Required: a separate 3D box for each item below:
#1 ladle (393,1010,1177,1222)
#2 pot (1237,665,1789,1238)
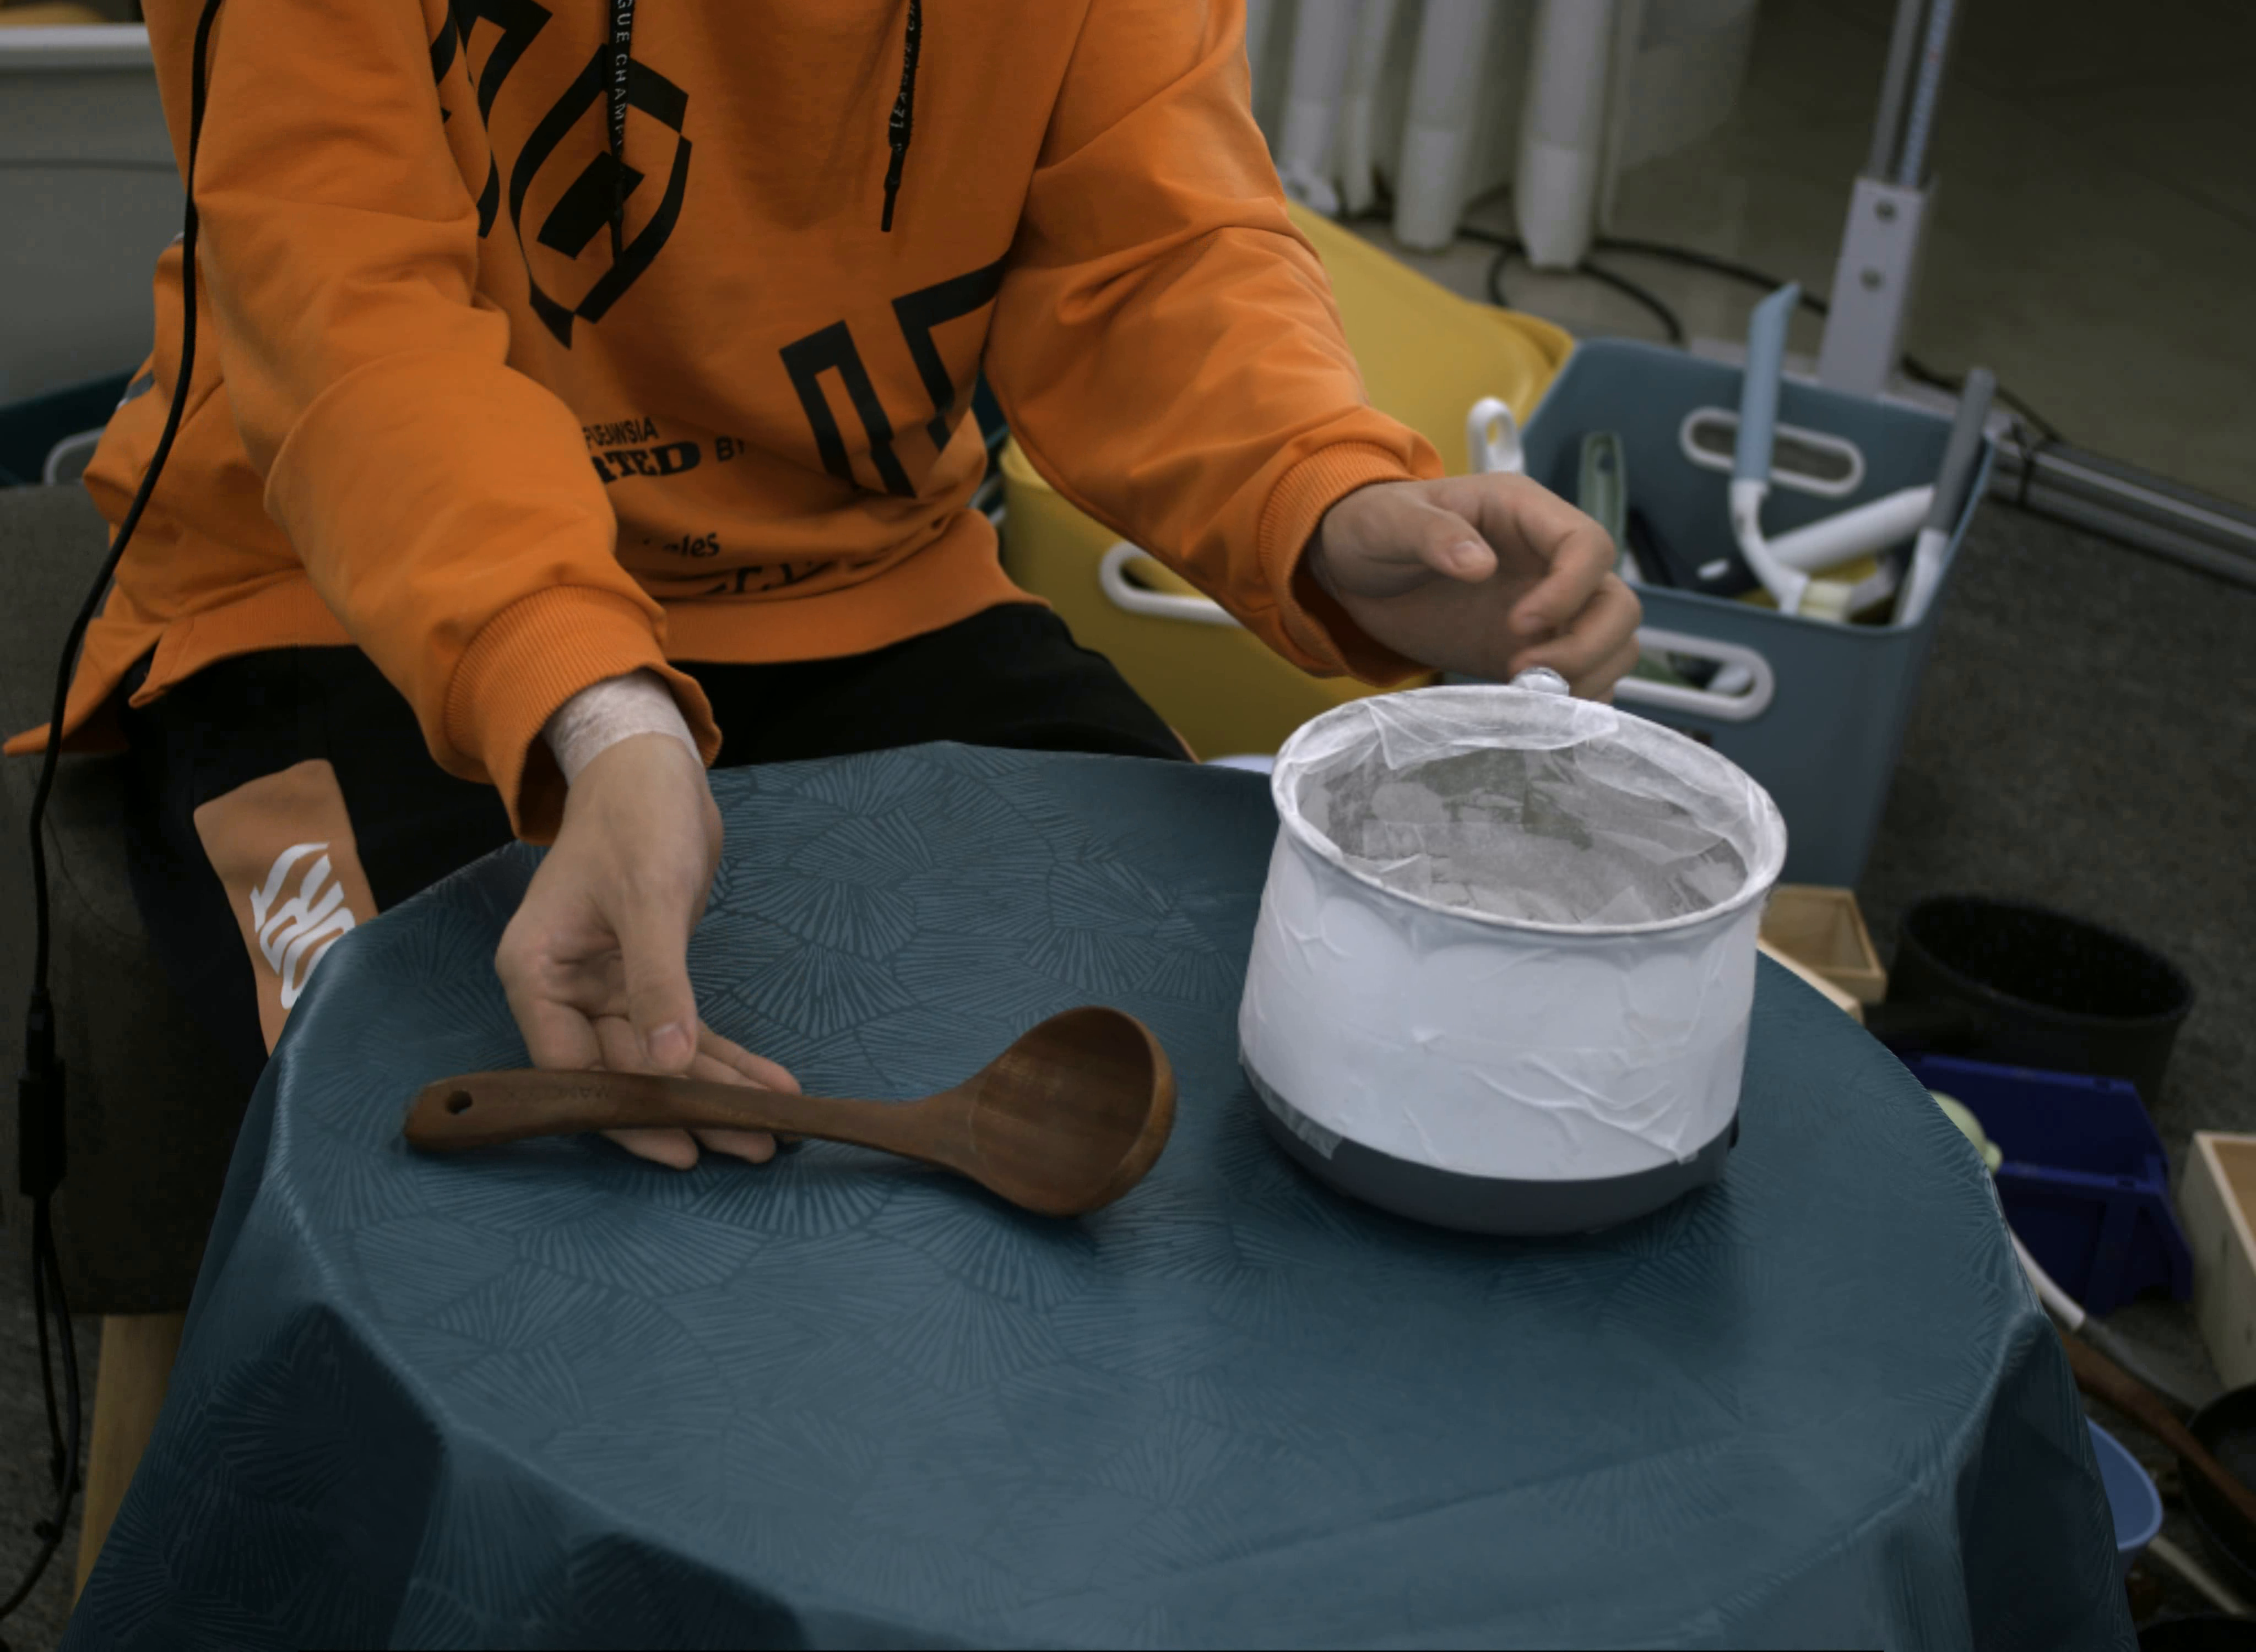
[{"bbox_3d":[-0.114,0.091,1.774,0.259,0.065,0.077,4,51,-6],"label":"ladle"},{"bbox_3d":[0.131,0.036,1.854,0.178,0.136,0.235,8,27,2],"label":"pot"}]
